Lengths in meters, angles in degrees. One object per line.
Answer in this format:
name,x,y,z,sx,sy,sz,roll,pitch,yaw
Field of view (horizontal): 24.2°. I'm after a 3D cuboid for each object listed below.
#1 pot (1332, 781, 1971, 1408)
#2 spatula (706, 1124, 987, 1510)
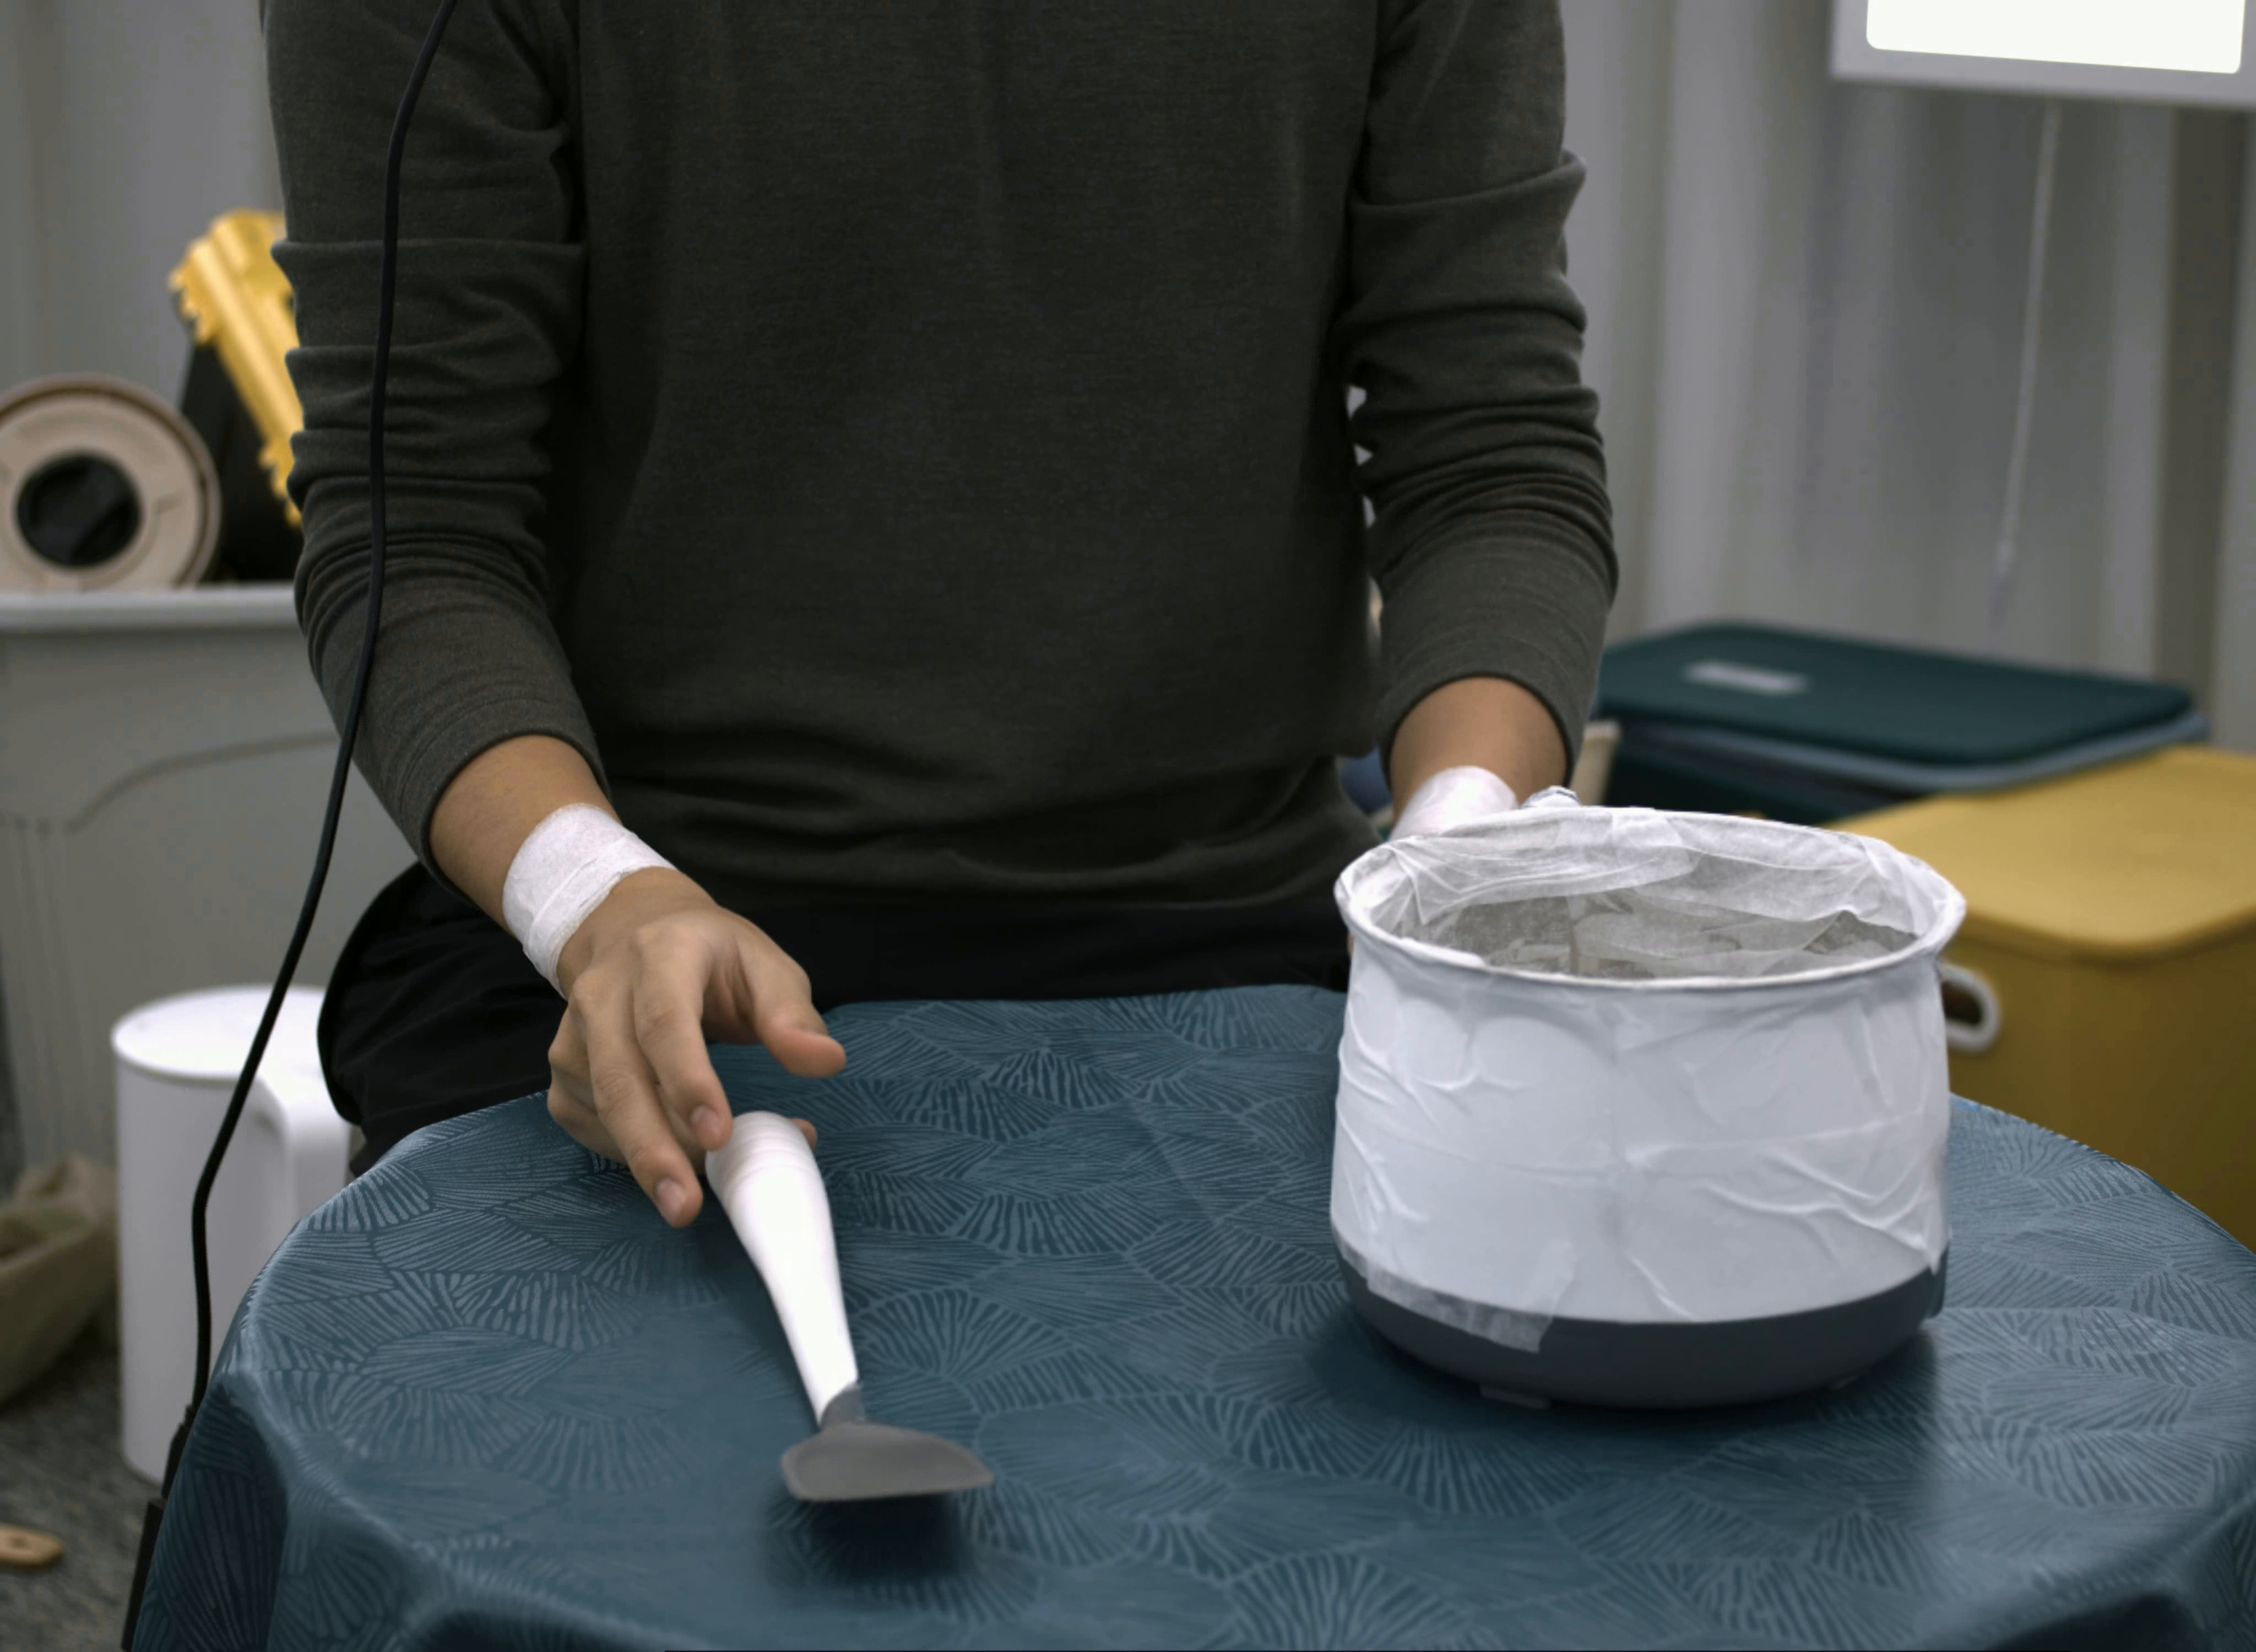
pot,0.140,0.071,1.518,0.179,0.138,0.231,-3,16,-12
spatula,-0.086,0.141,1.457,0.059,0.032,0.285,1,15,-11
